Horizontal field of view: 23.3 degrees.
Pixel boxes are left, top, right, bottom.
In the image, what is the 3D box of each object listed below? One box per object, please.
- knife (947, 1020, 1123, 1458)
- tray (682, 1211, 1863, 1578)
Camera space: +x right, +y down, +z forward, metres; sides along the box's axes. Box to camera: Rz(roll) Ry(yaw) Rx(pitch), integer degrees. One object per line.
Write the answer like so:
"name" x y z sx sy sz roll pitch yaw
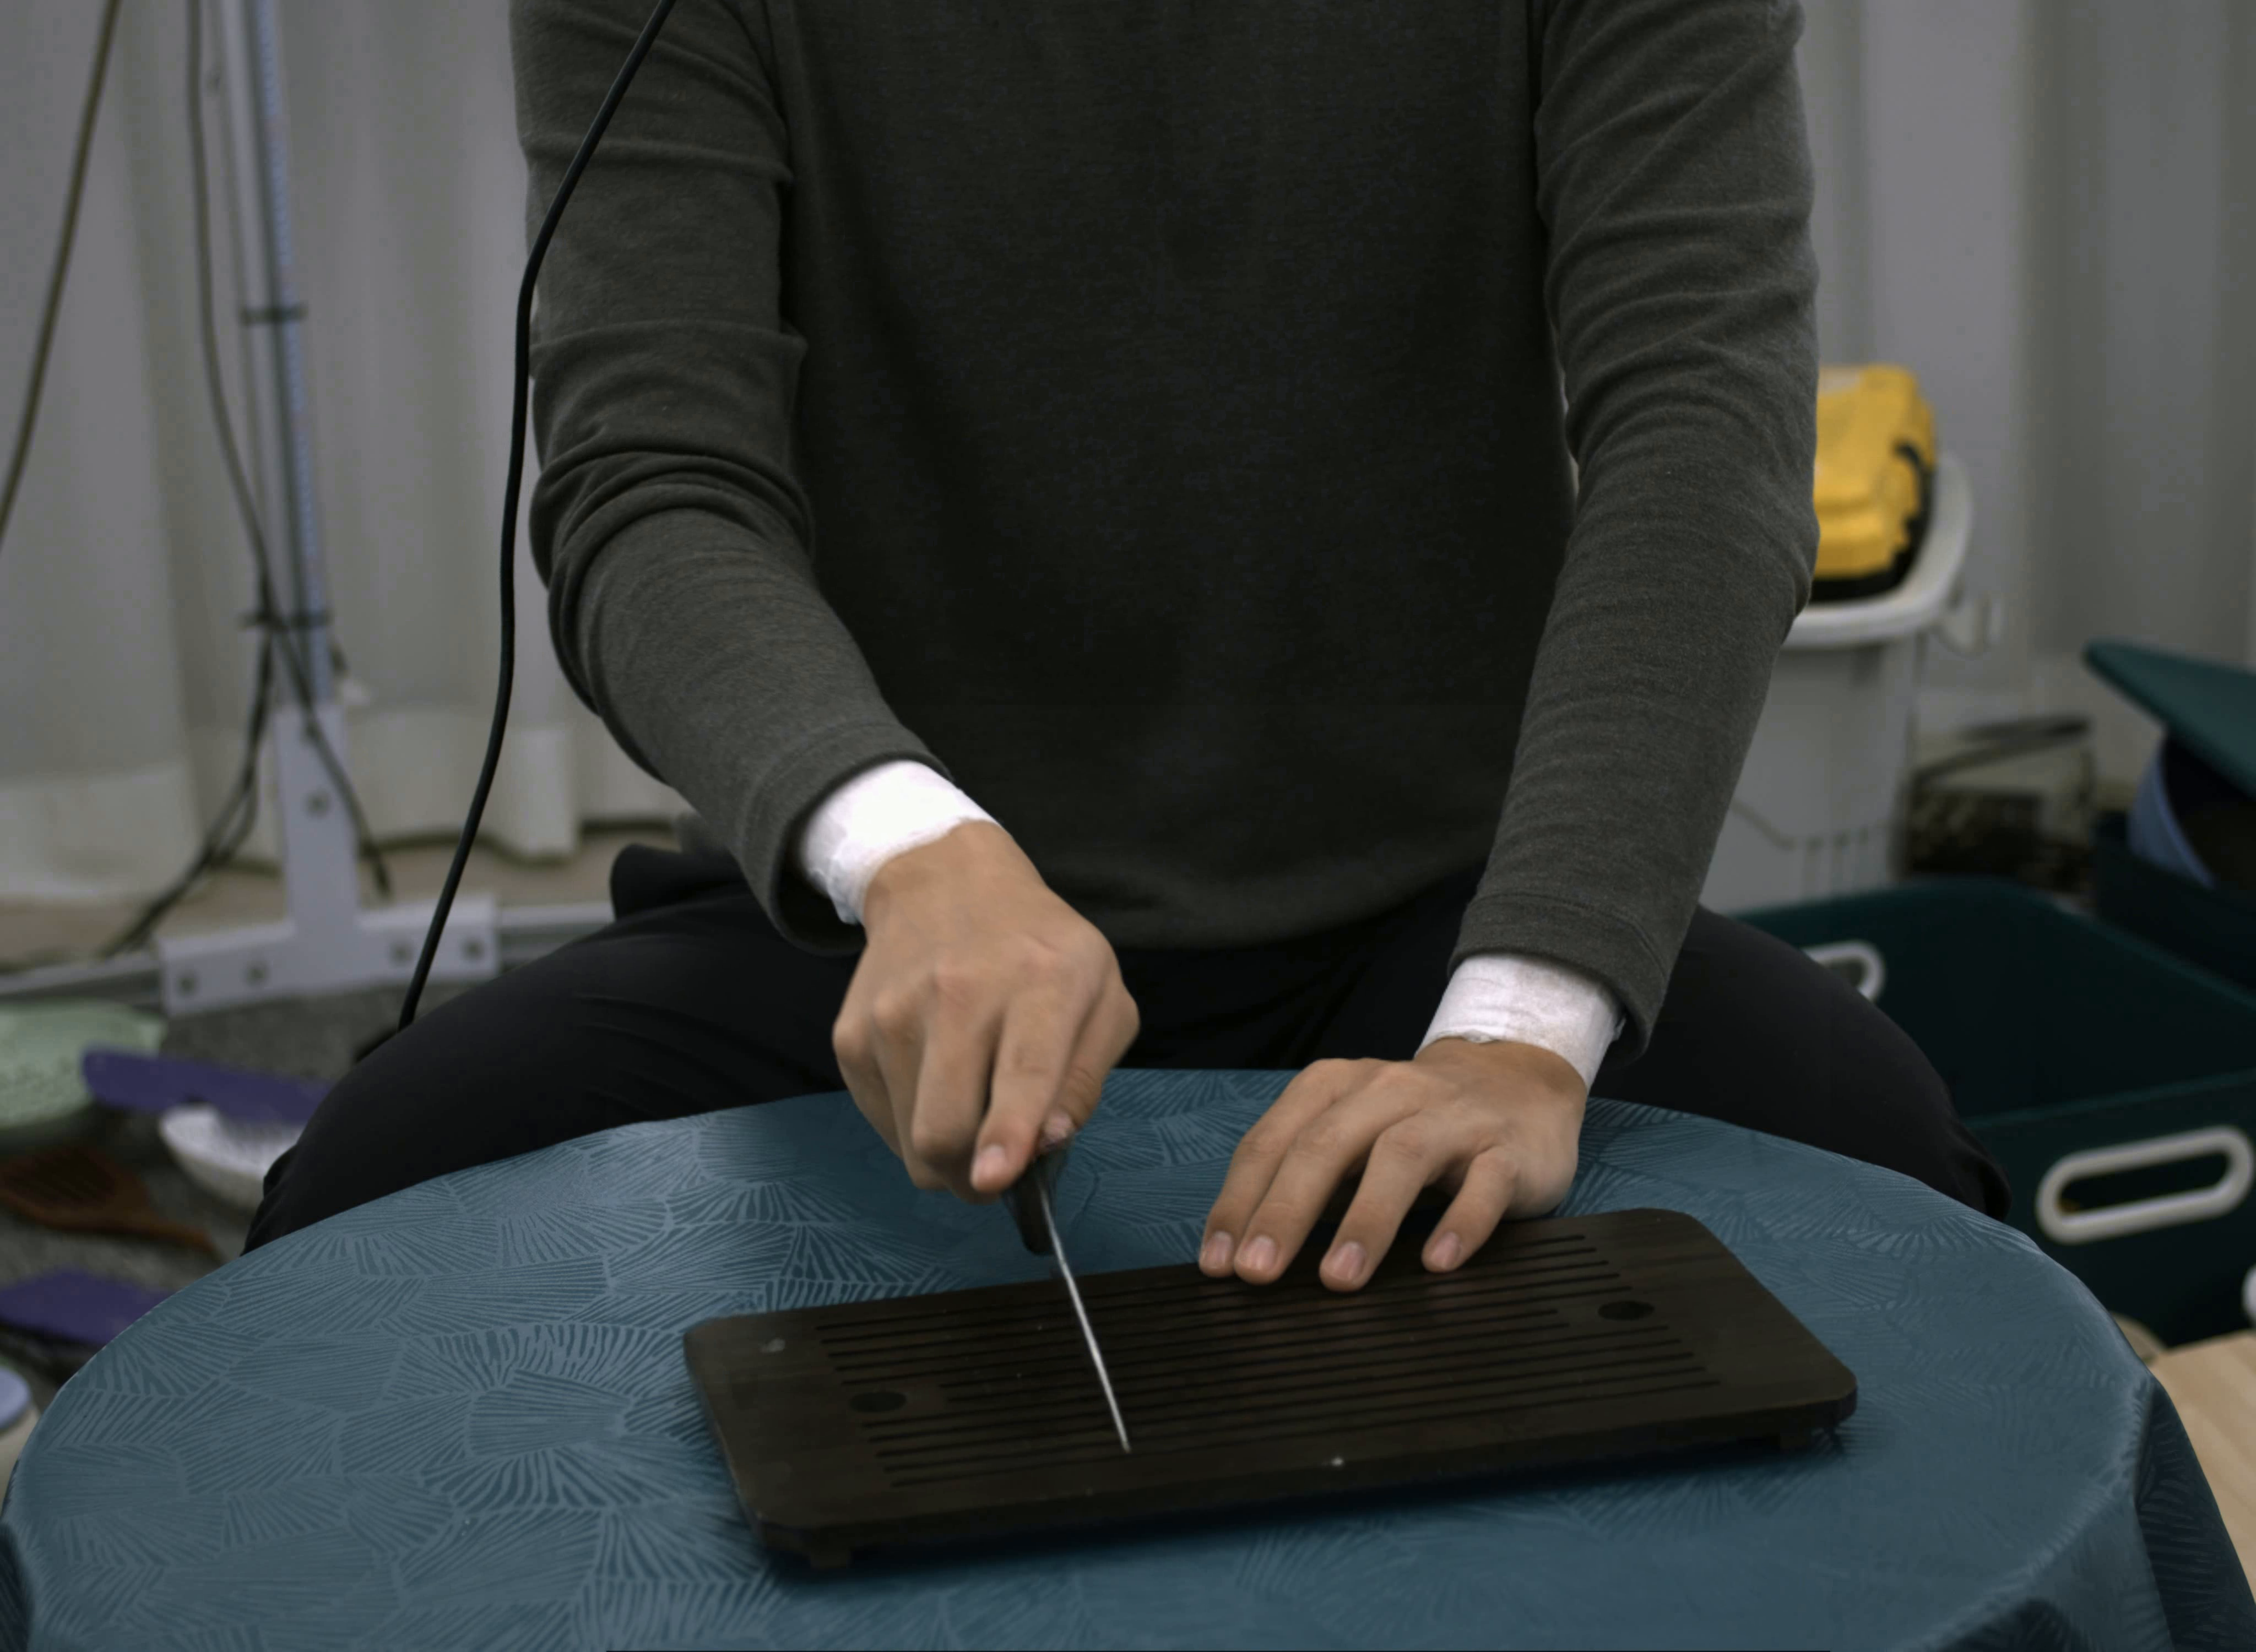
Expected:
"knife" -0.025 0.111 1.524 0.016 0.024 0.241 -10 26 -7
"tray" 0.036 0.156 1.519 0.304 0.018 0.171 -6 15 -11
